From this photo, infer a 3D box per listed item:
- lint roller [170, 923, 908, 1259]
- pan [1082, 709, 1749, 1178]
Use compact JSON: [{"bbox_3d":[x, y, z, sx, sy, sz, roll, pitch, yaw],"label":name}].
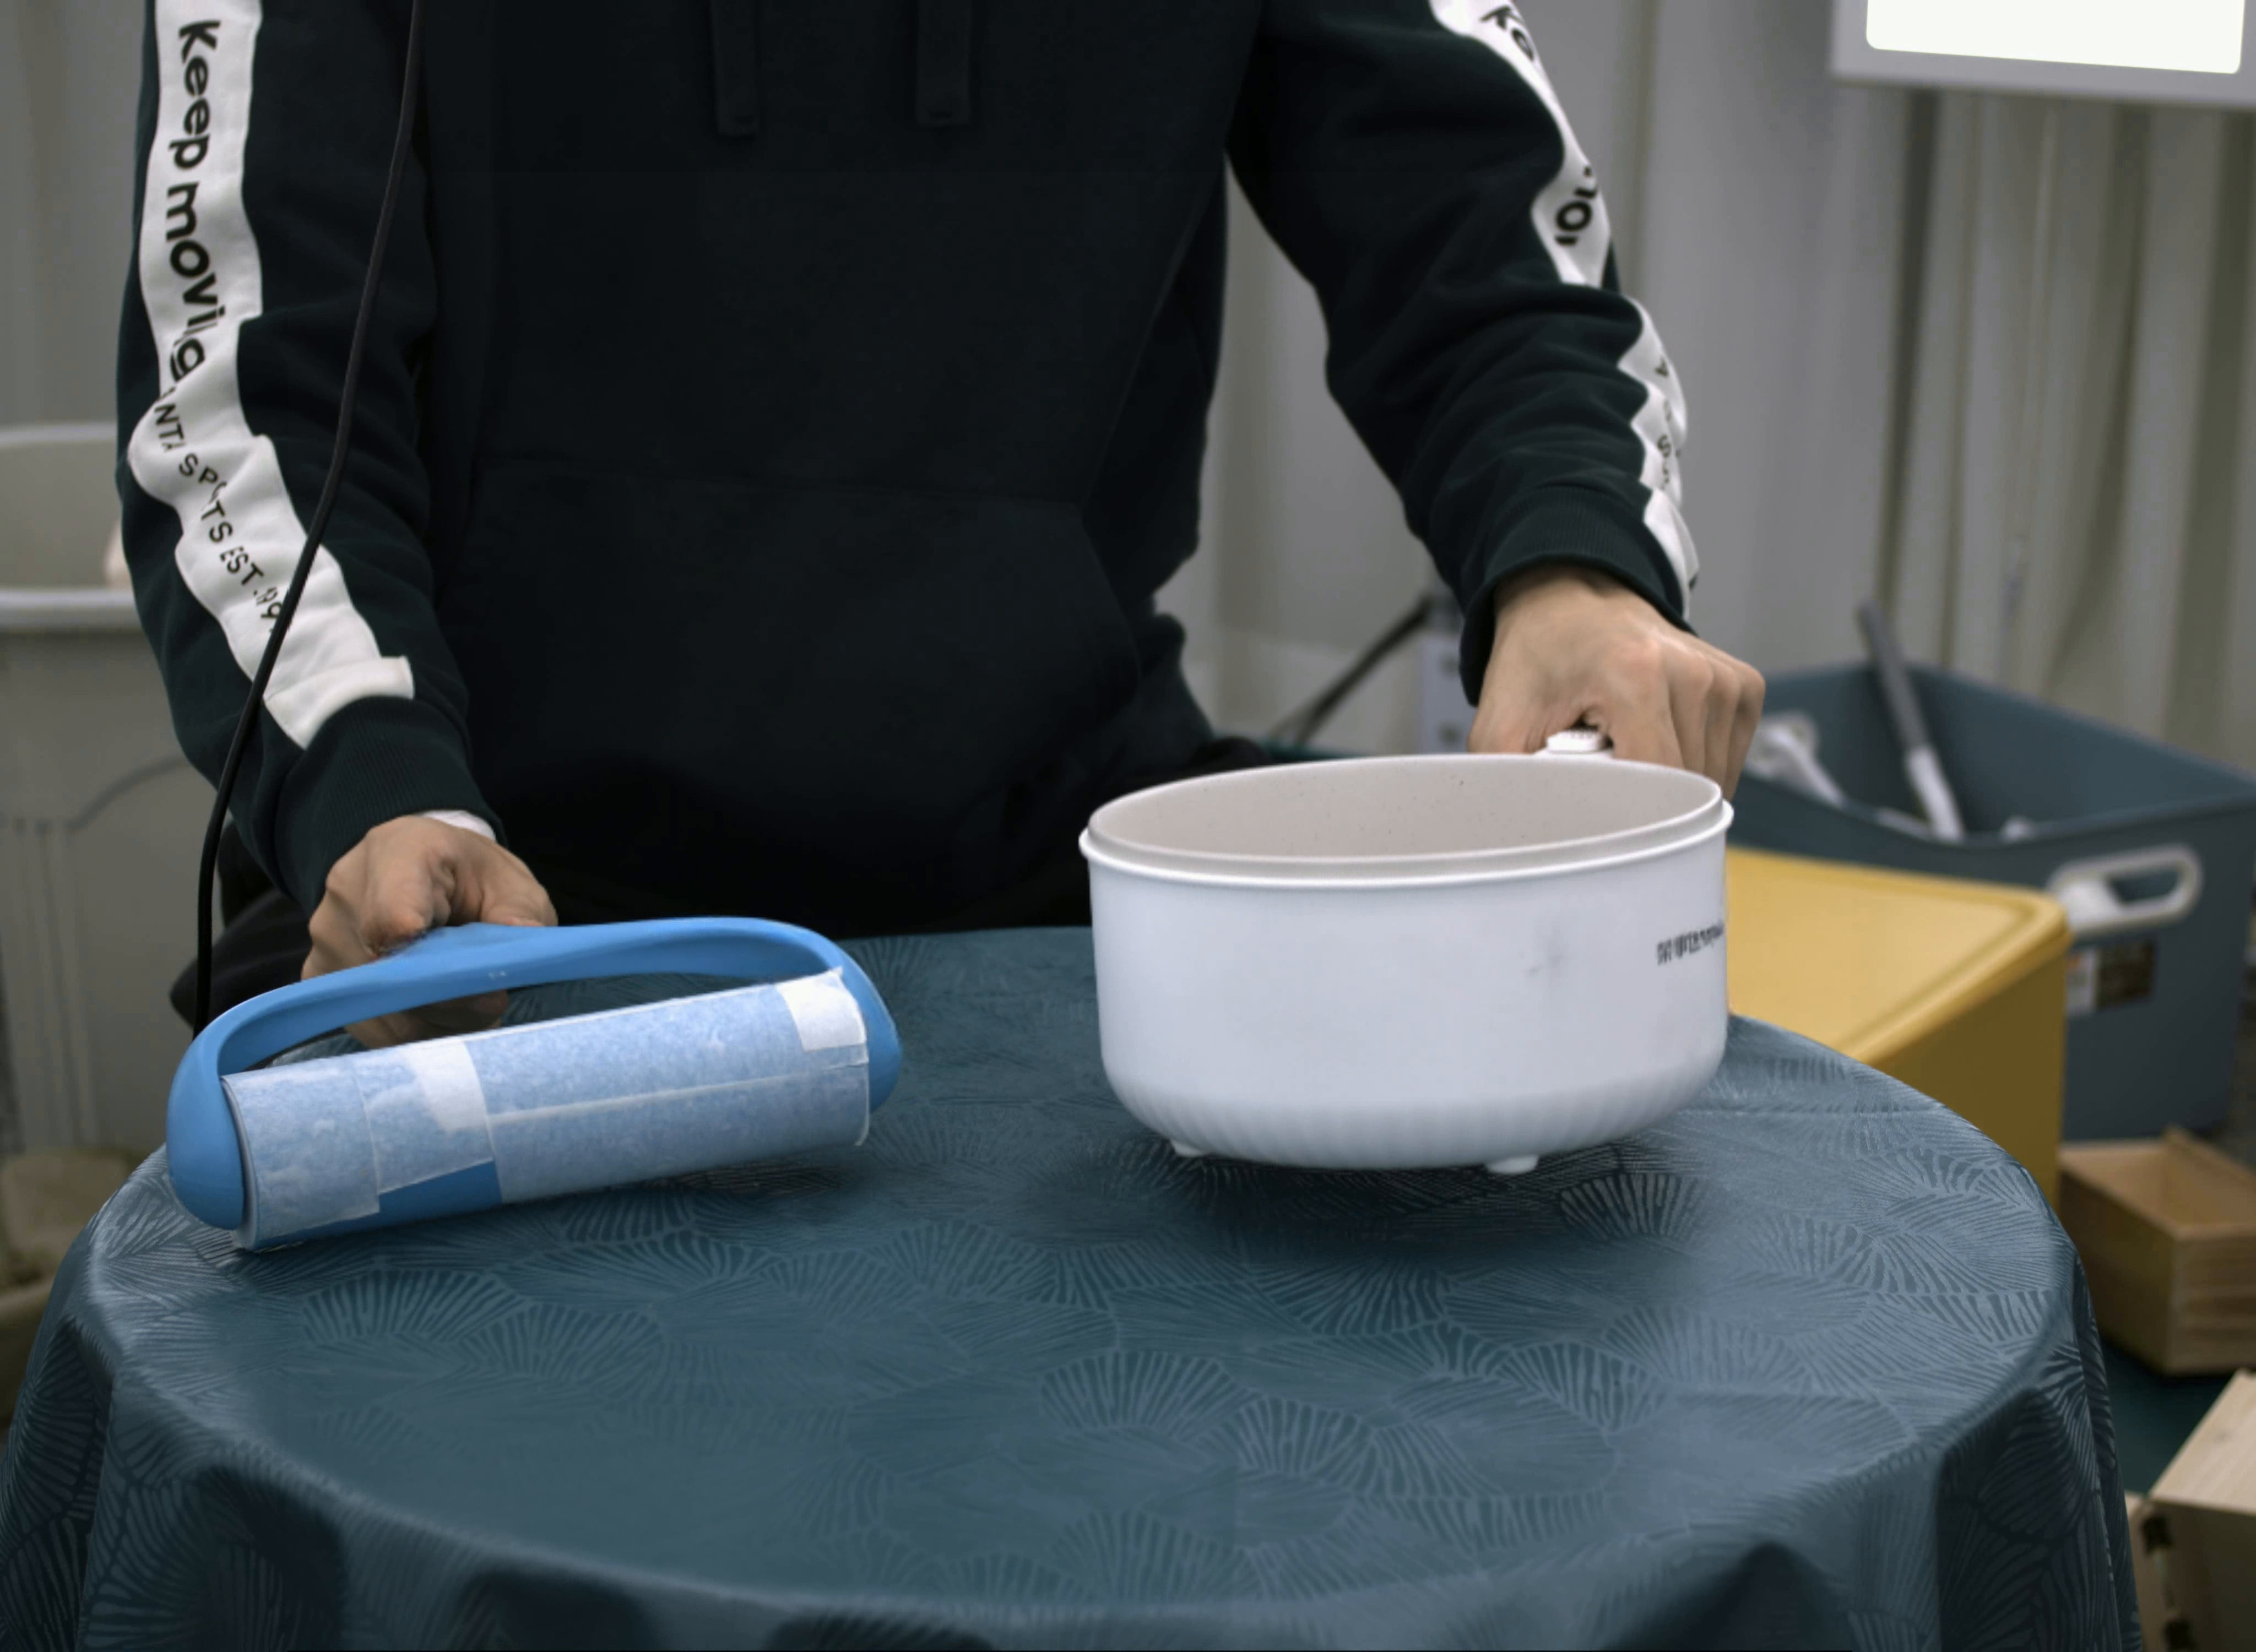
[{"bbox_3d":[-0.200,0.065,1.635,0.229,0.068,0.178,-12,25,-23],"label":"lint roller"},{"bbox_3d":[0.121,0.032,1.690,0.199,0.103,0.356,2,9,25],"label":"pan"}]
